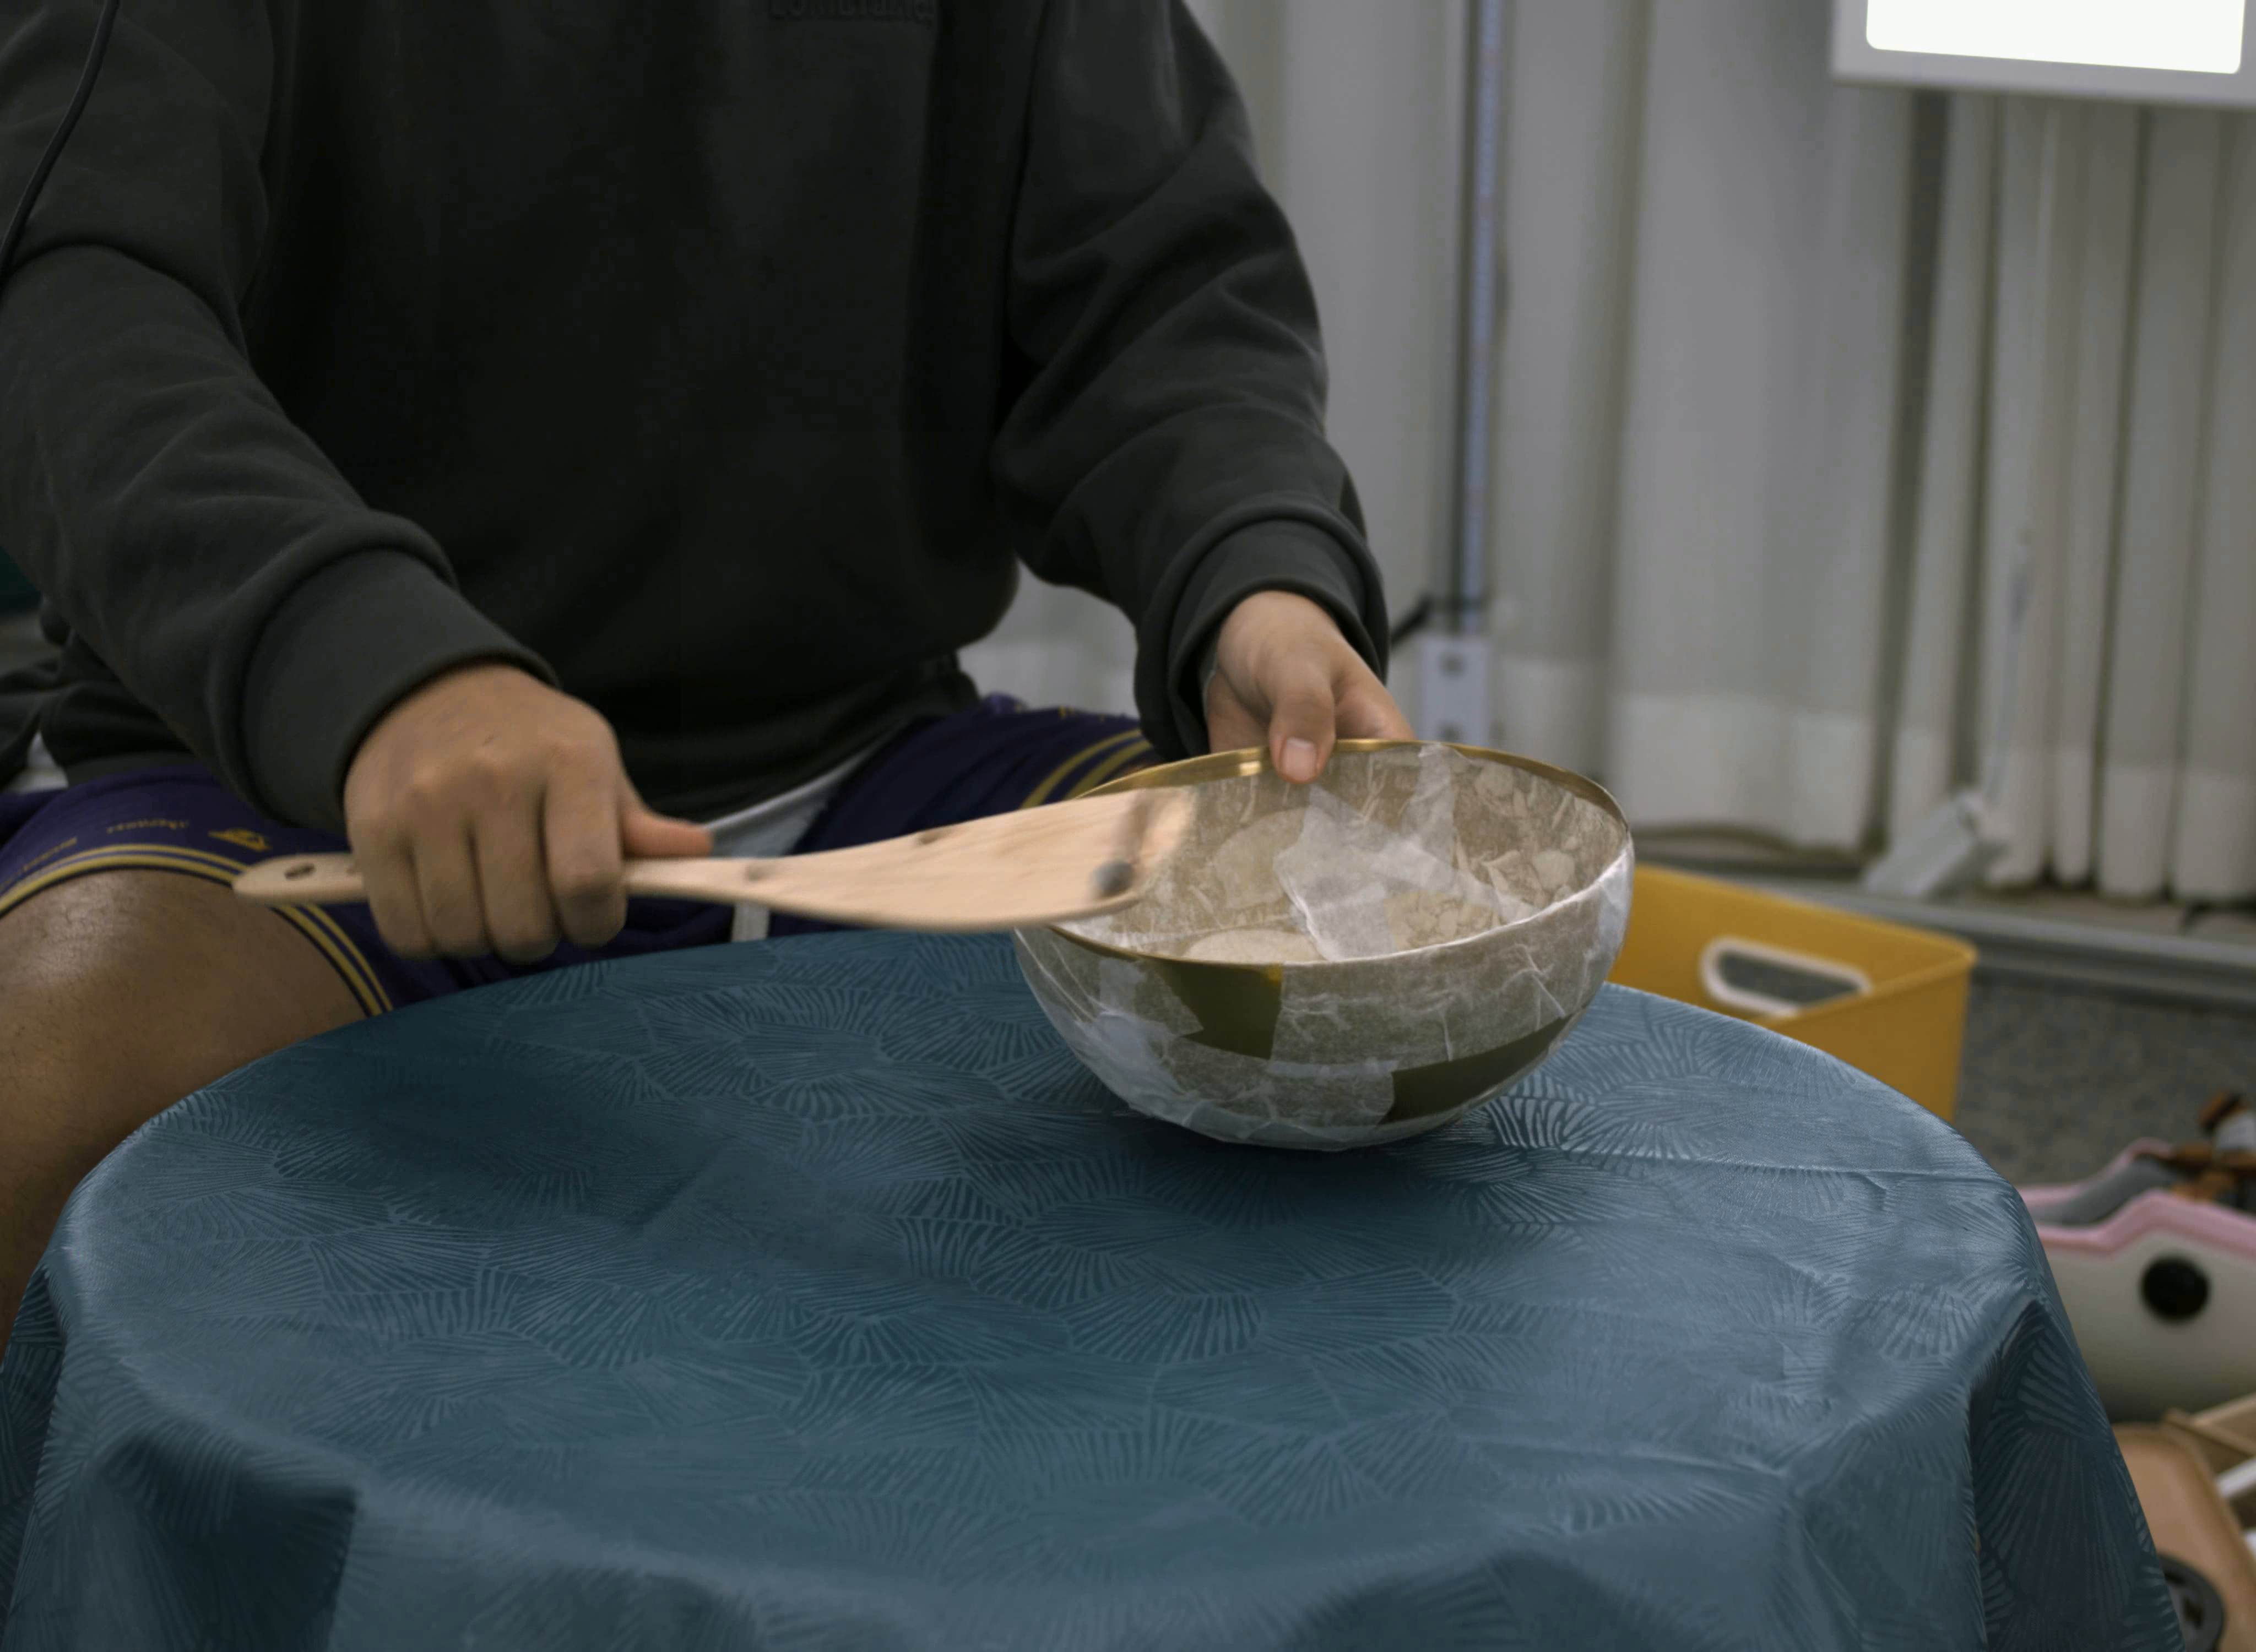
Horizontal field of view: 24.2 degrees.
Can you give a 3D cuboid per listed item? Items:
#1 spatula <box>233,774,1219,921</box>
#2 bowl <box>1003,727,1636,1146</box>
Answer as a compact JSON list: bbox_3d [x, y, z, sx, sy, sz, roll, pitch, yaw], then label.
[{"bbox_3d":[-0.124,0.008,1.572,0.324,0.017,0.080,-1,27,20],"label":"spatula"},{"bbox_3d":[0.061,0.044,1.679,0.214,0.095,0.213,-4,21,2],"label":"bowl"}]
